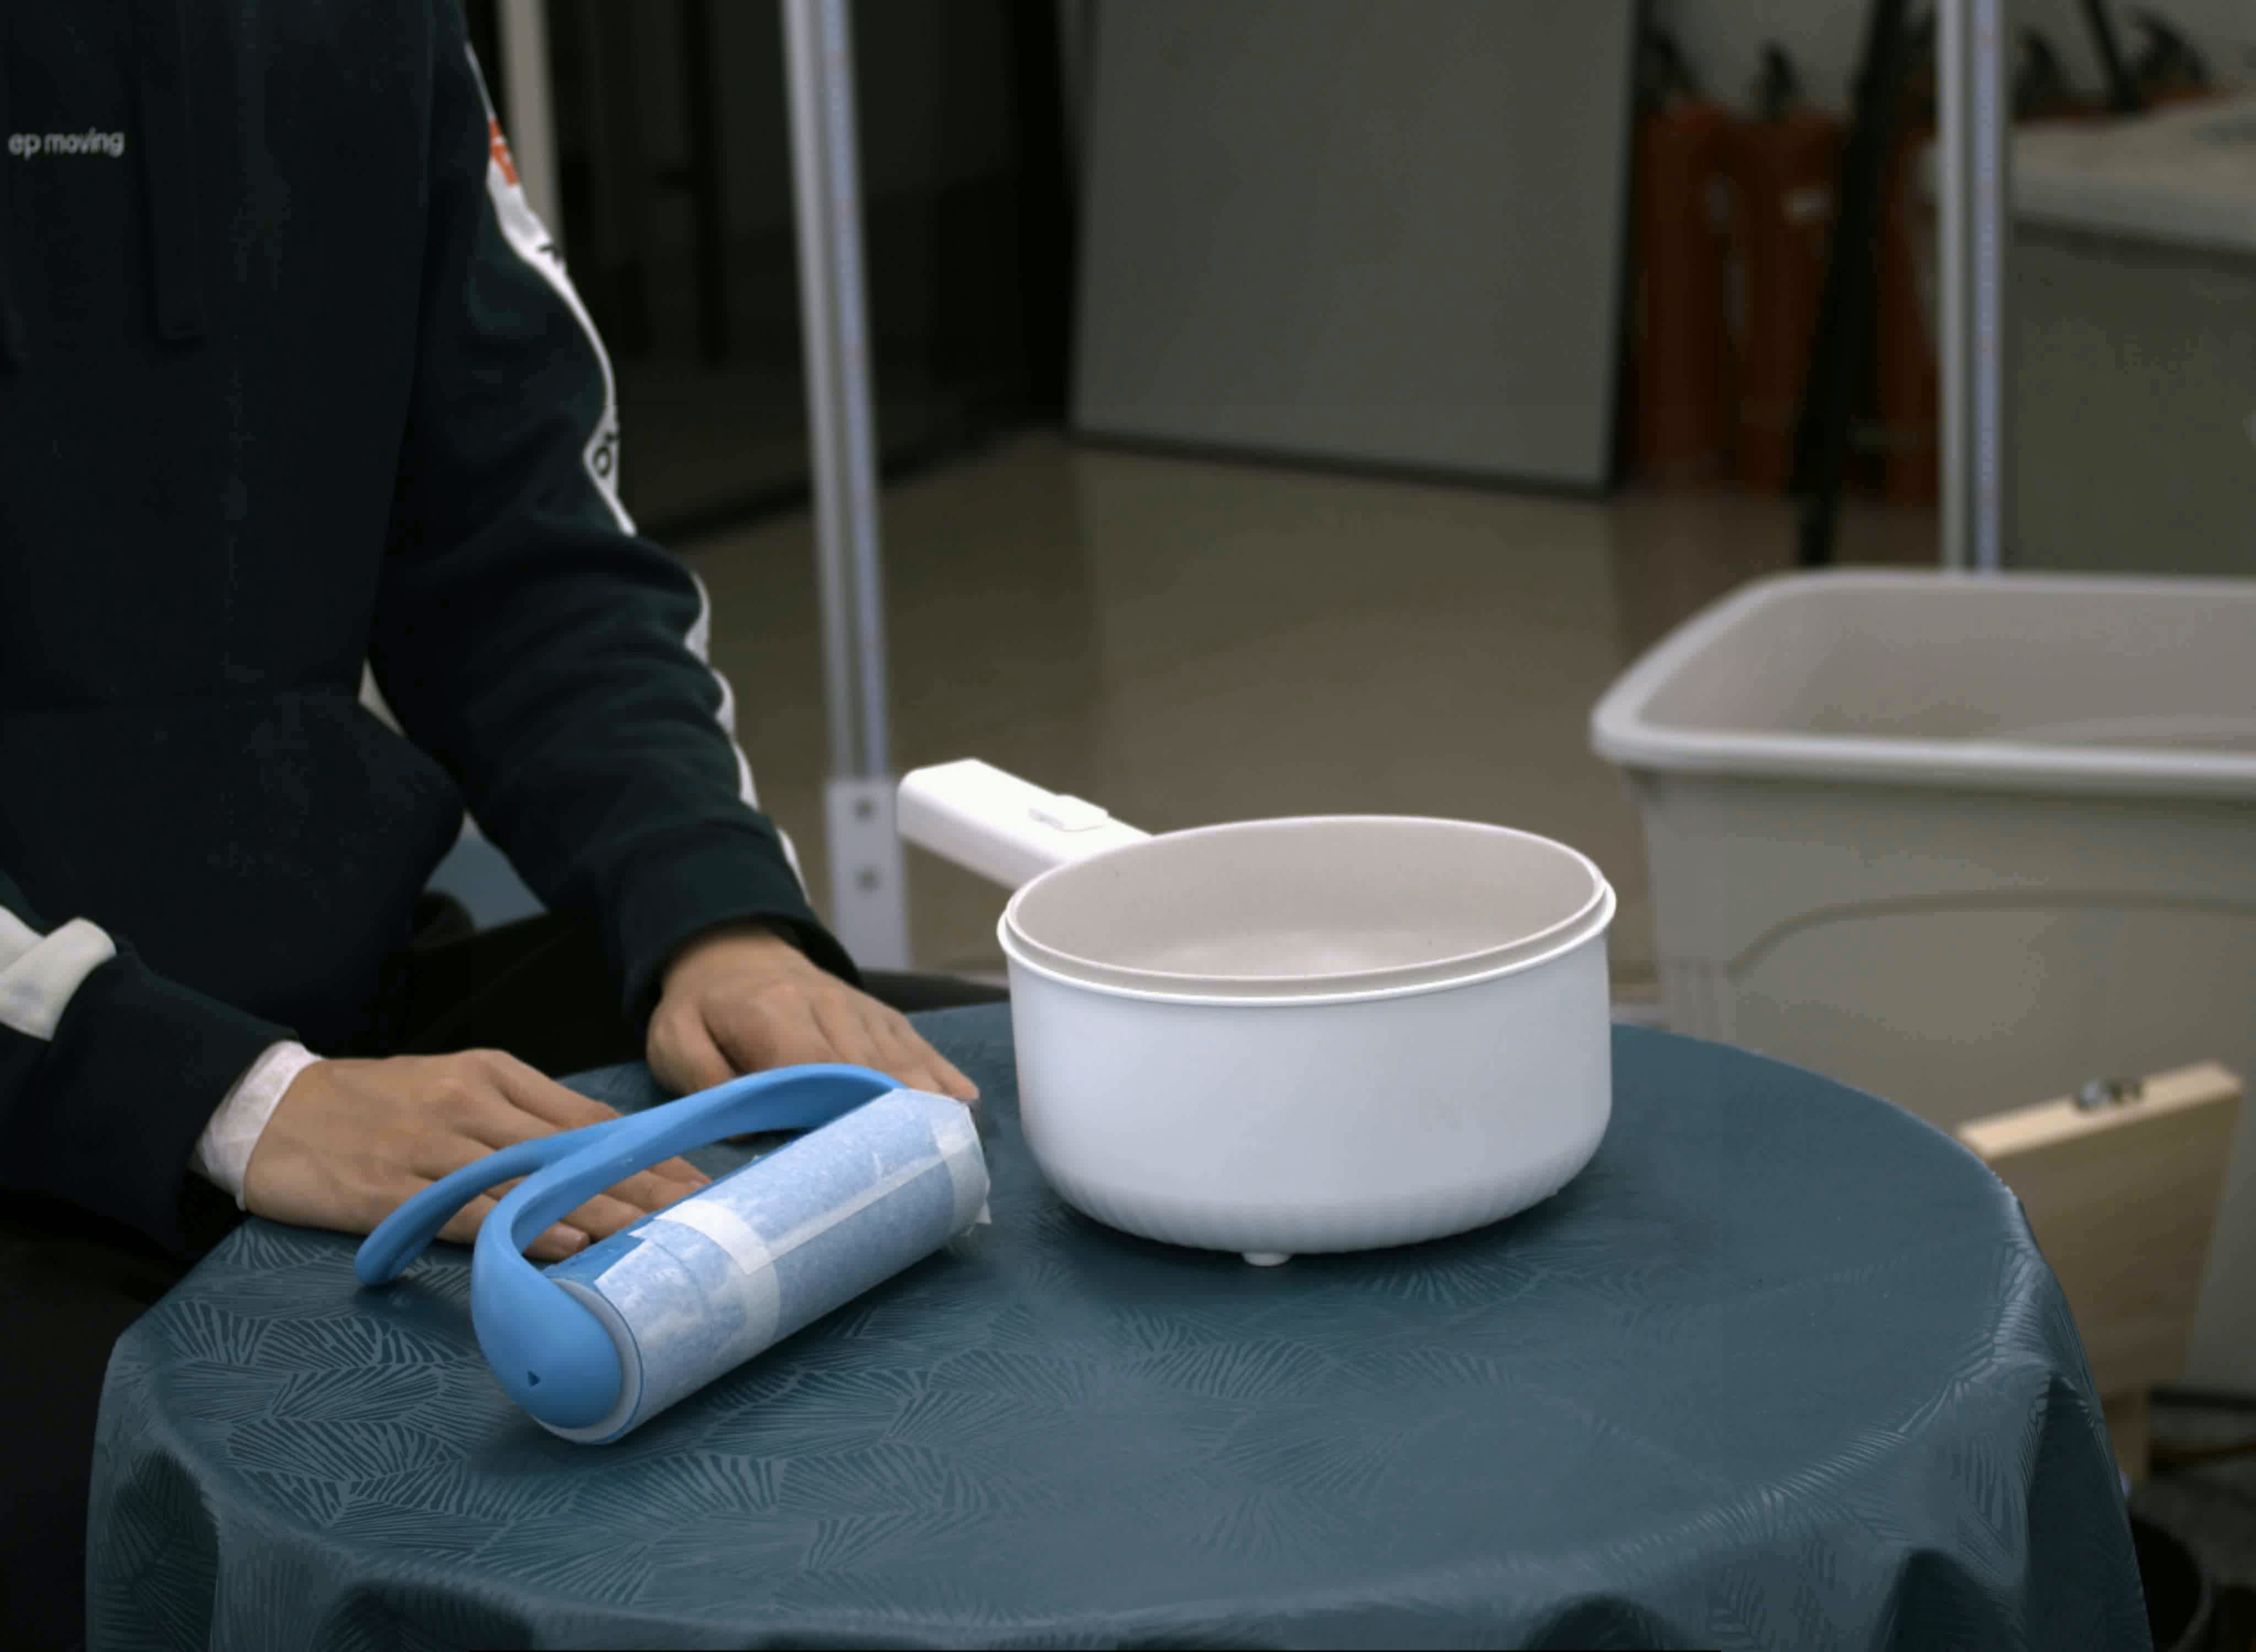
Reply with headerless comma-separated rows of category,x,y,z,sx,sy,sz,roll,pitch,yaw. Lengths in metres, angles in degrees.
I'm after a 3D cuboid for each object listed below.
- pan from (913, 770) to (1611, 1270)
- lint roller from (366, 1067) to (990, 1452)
pan,0.023,0.058,1.816,0.197,0.103,0.358,-12,15,-26
lint roller,-0.164,0.128,1.675,0.181,0.068,0.226,5,18,28
